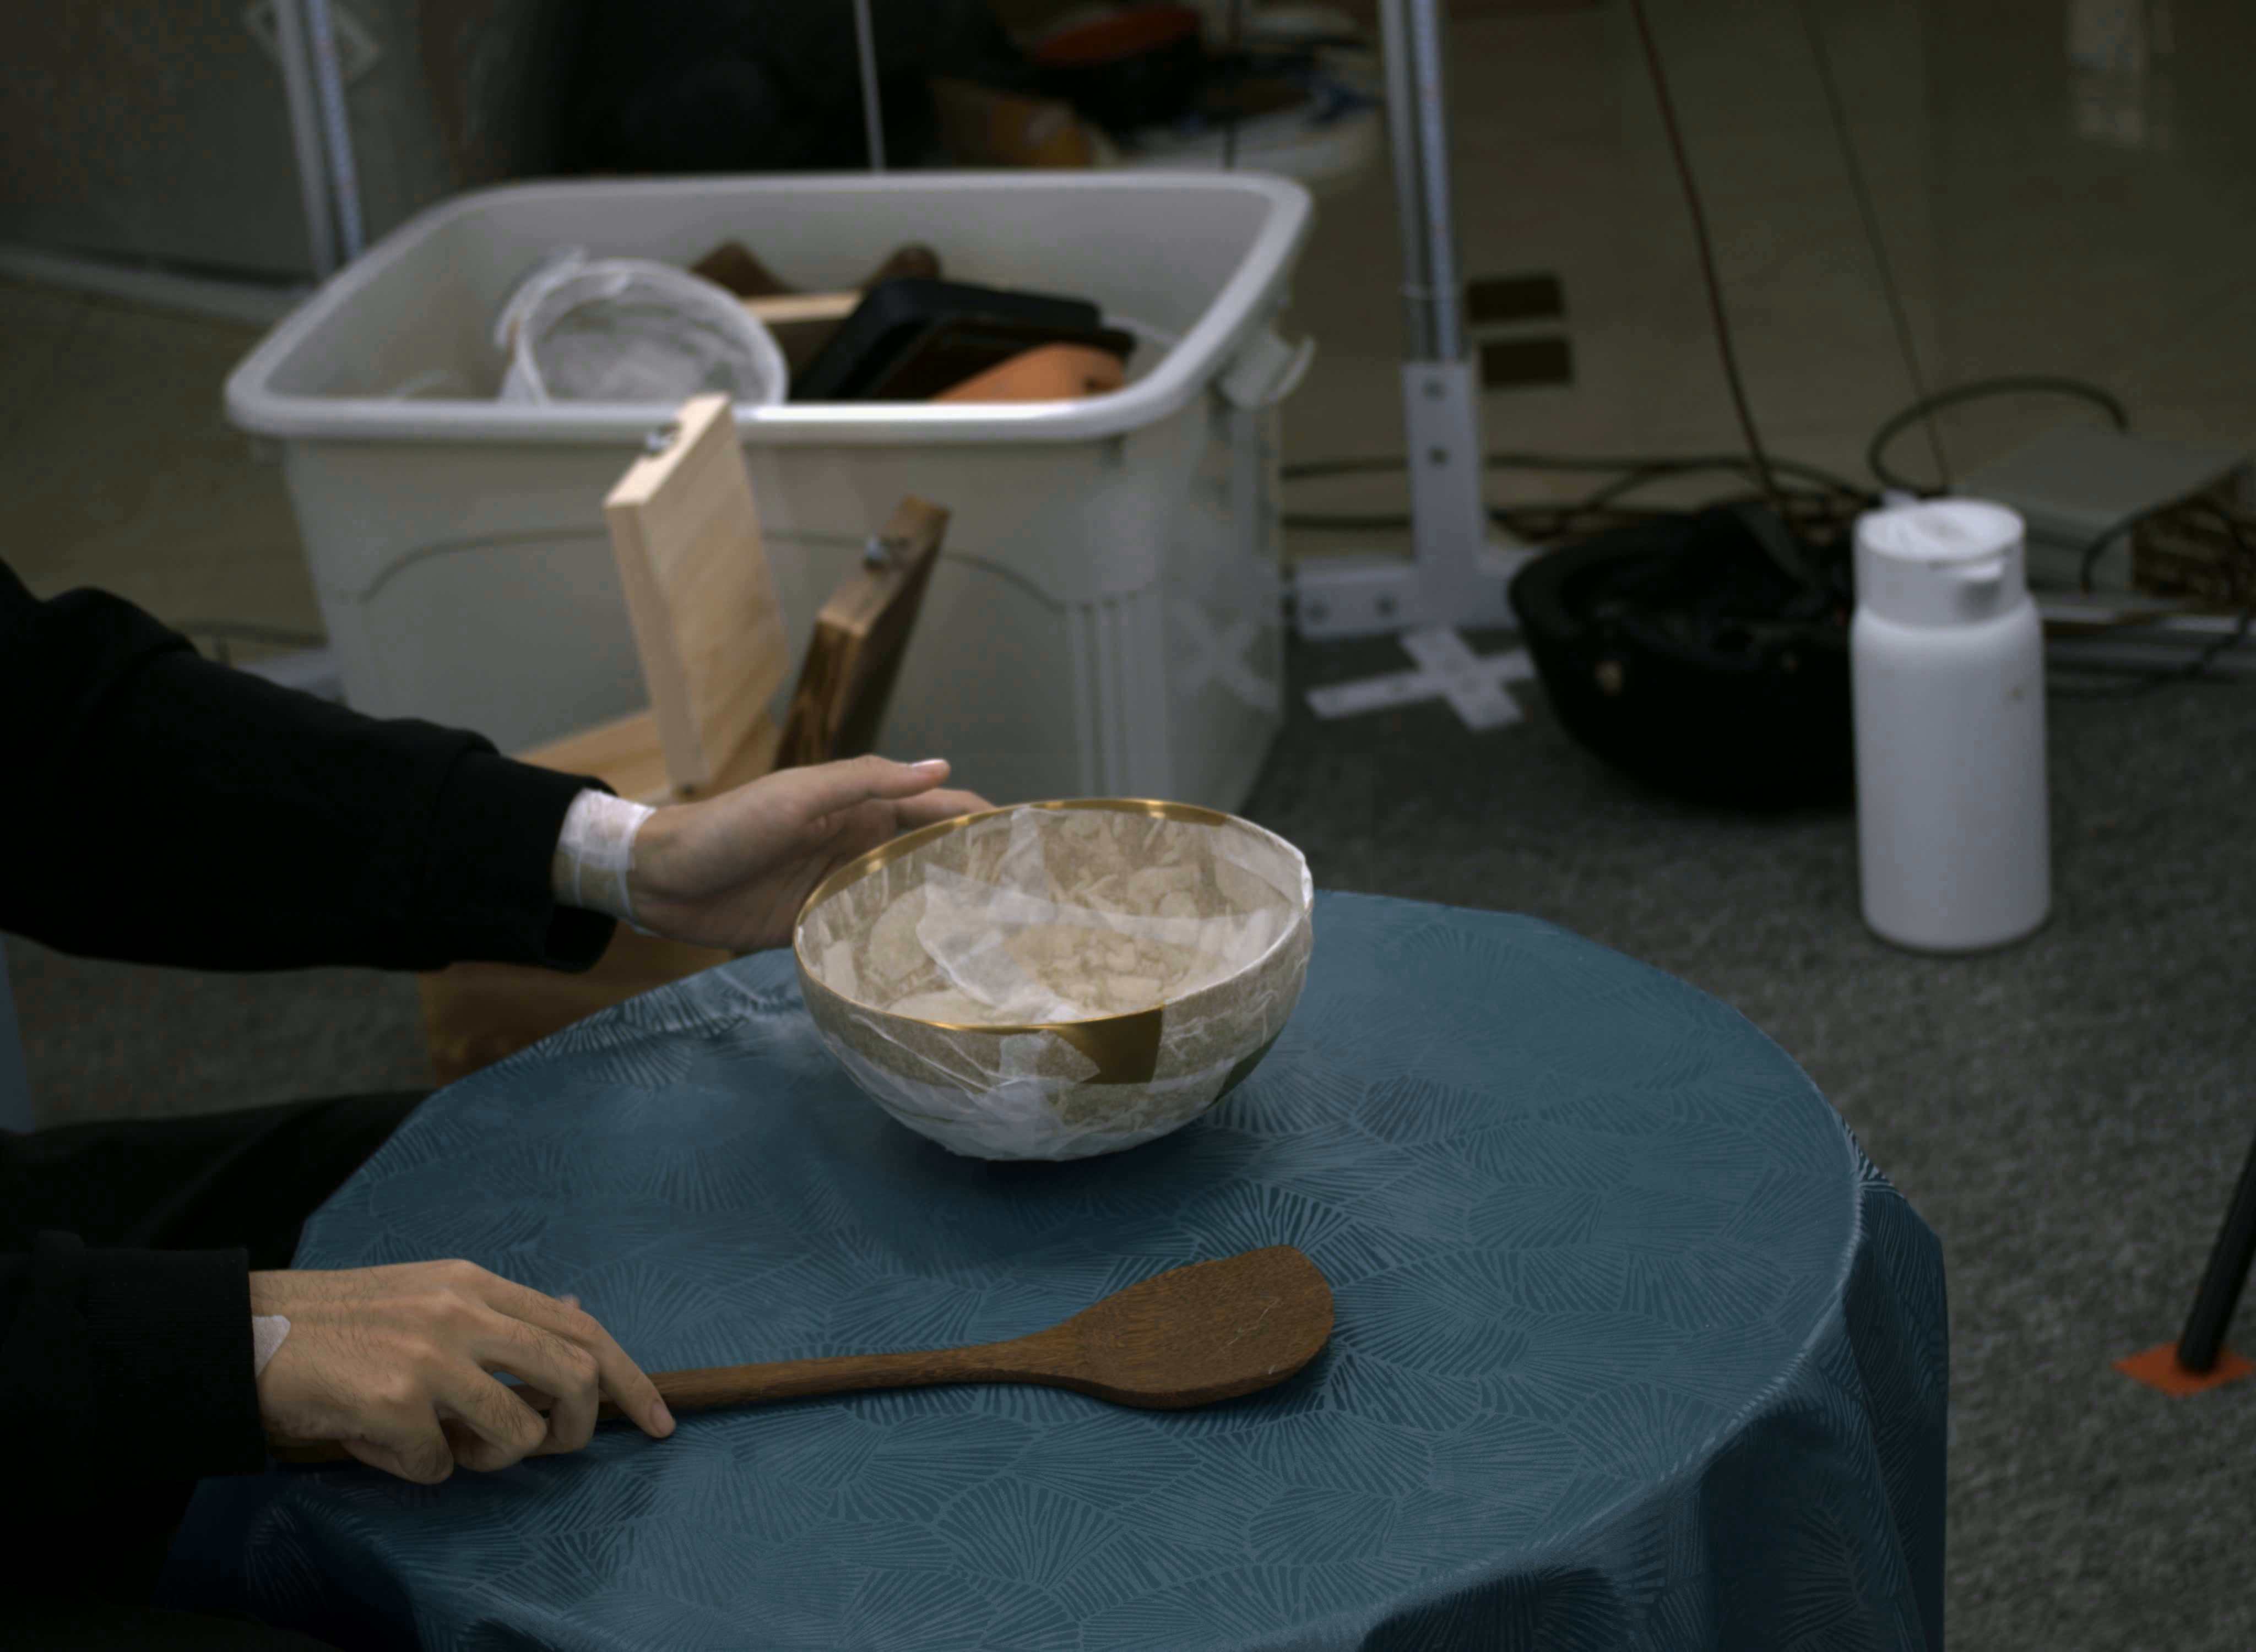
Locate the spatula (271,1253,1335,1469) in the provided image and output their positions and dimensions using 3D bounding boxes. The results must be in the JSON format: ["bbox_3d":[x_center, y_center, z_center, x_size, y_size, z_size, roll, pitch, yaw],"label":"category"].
[{"bbox_3d":[-0.117,0.199,2.037,0.385,0.016,0.095,-6,25,0],"label":"spatula"}]

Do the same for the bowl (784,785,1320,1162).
[{"bbox_3d":[-0.026,0.069,2.195,0.214,0.096,0.211,-6,26,3],"label":"bowl"}]
